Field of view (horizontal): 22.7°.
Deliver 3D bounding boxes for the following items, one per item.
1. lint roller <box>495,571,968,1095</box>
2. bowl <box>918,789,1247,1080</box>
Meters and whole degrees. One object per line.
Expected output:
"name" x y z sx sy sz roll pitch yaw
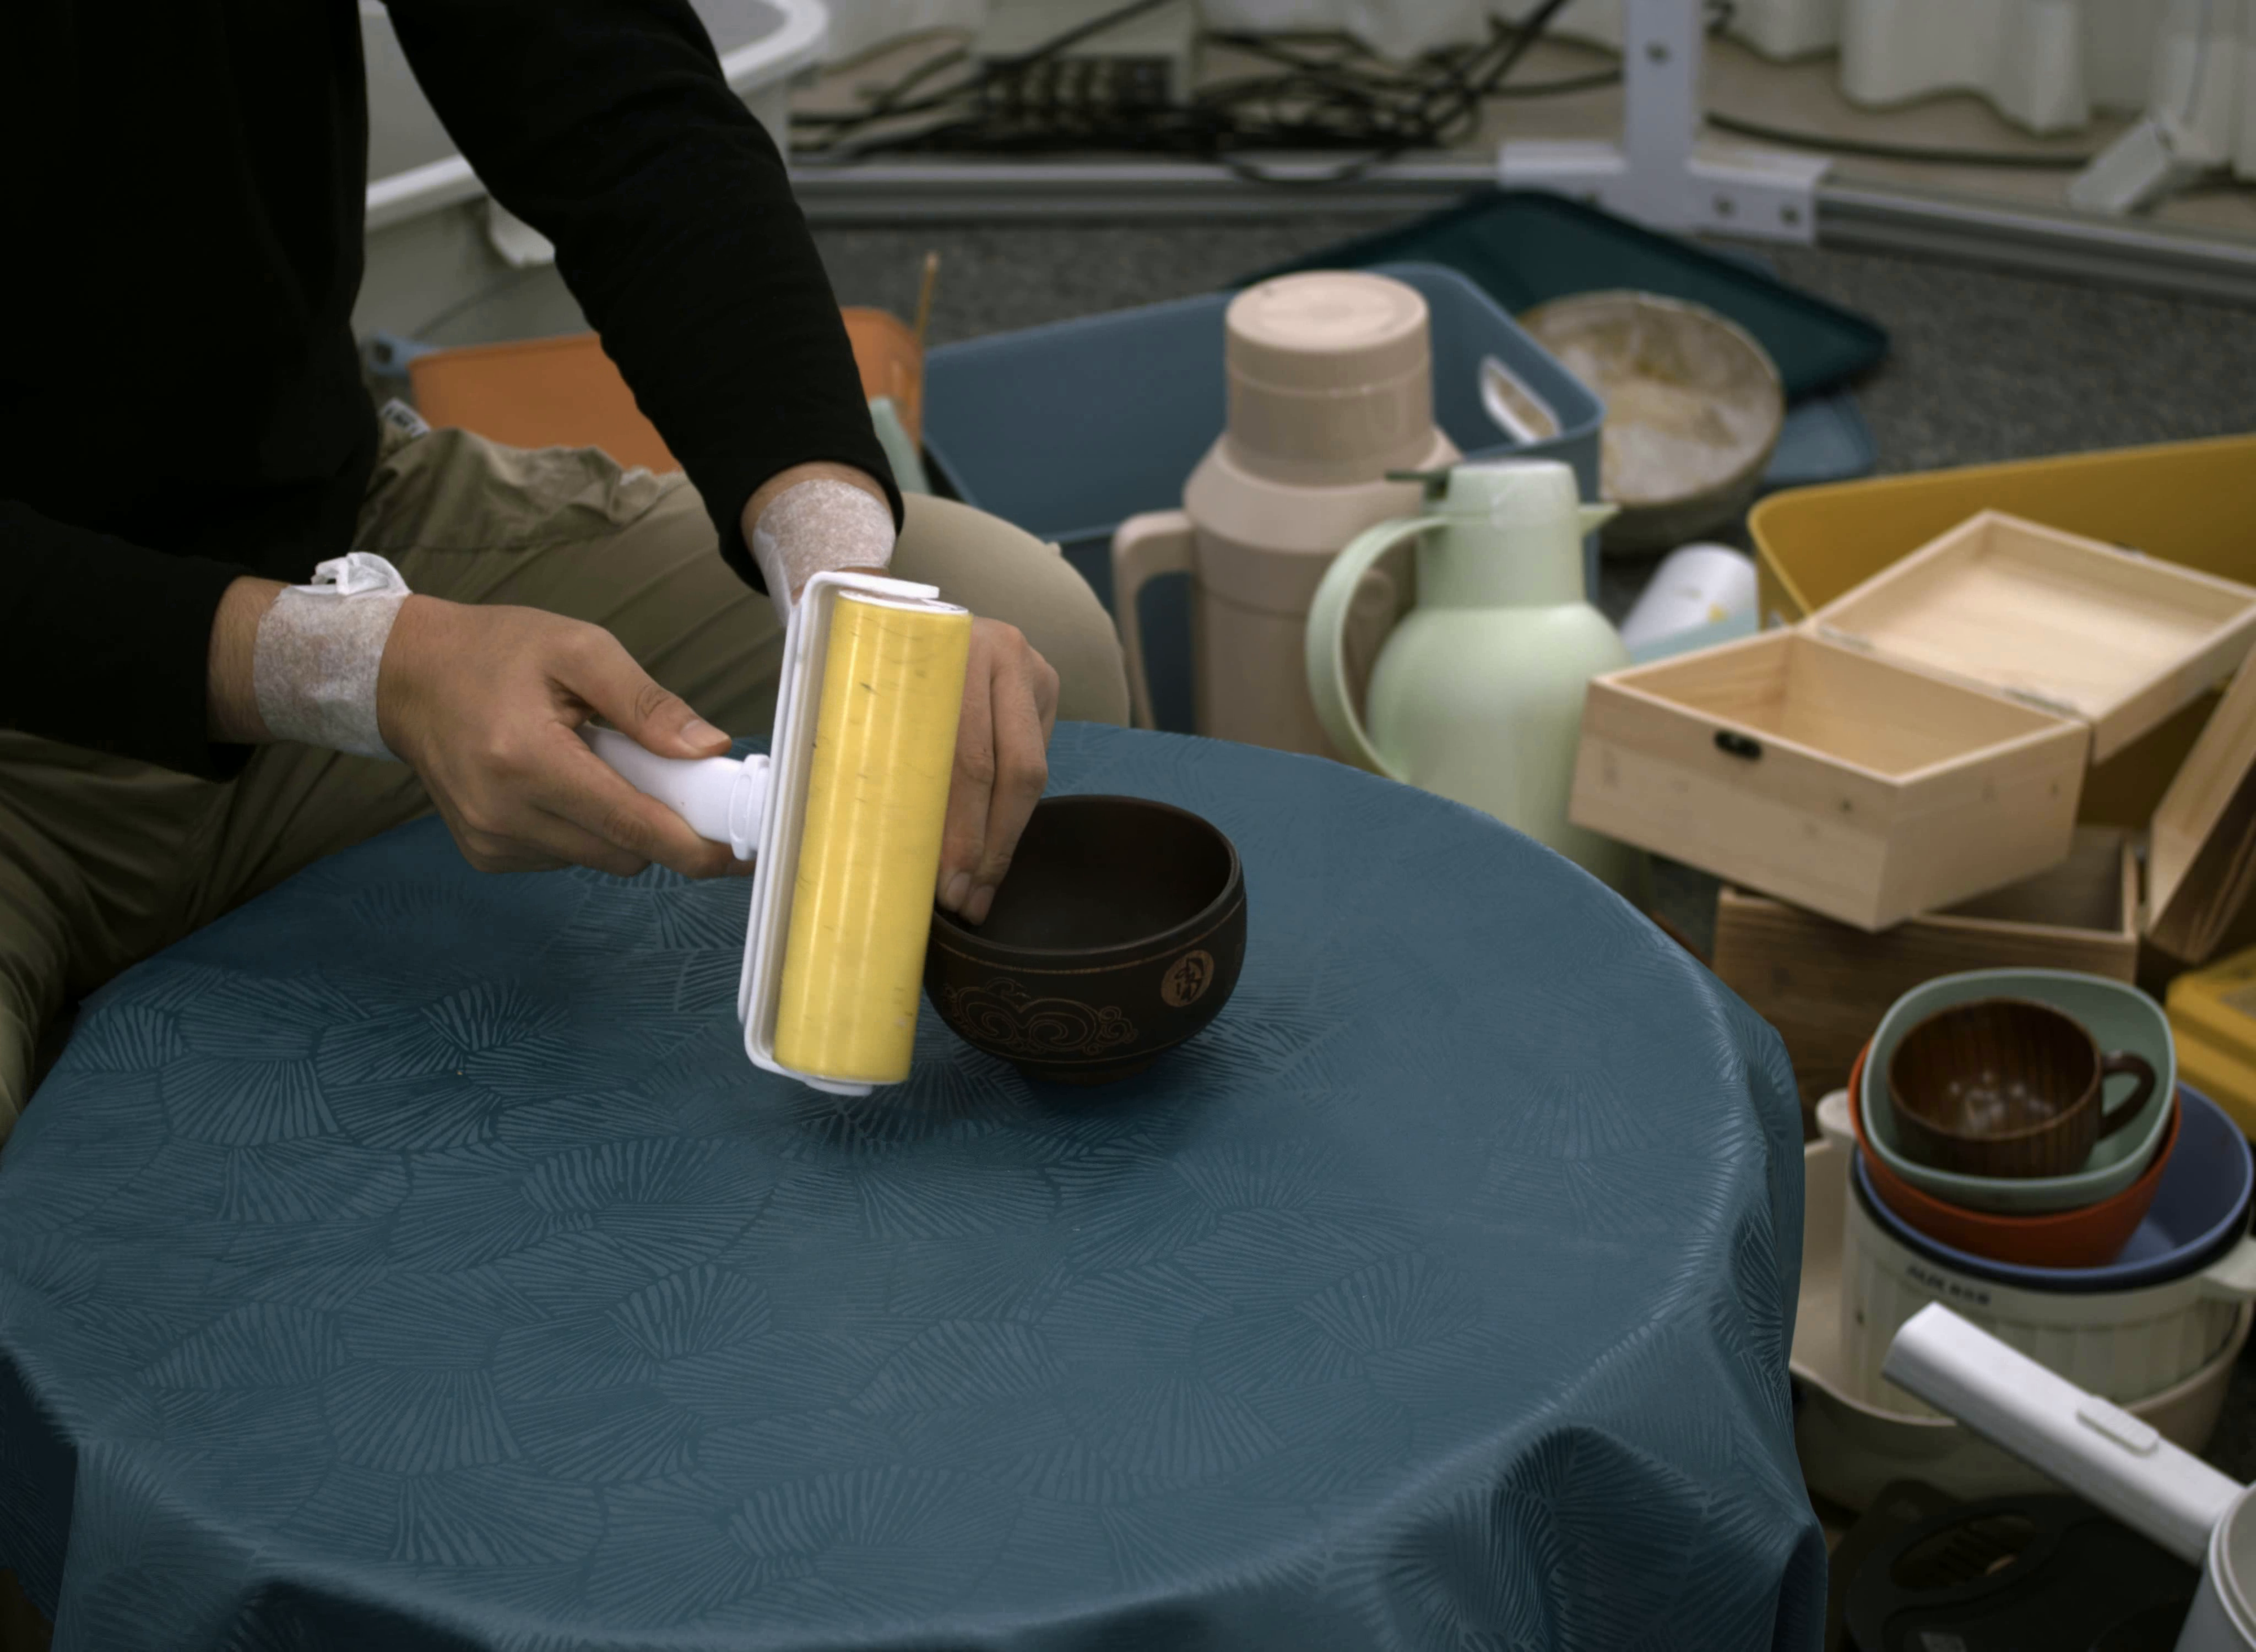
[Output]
"lint roller" -0.148 -0.007 1.927 0.191 0.174 0.051 9 4 27
"bowl" -0.017 0.044 1.933 0.117 0.069 0.120 -1 27 1
